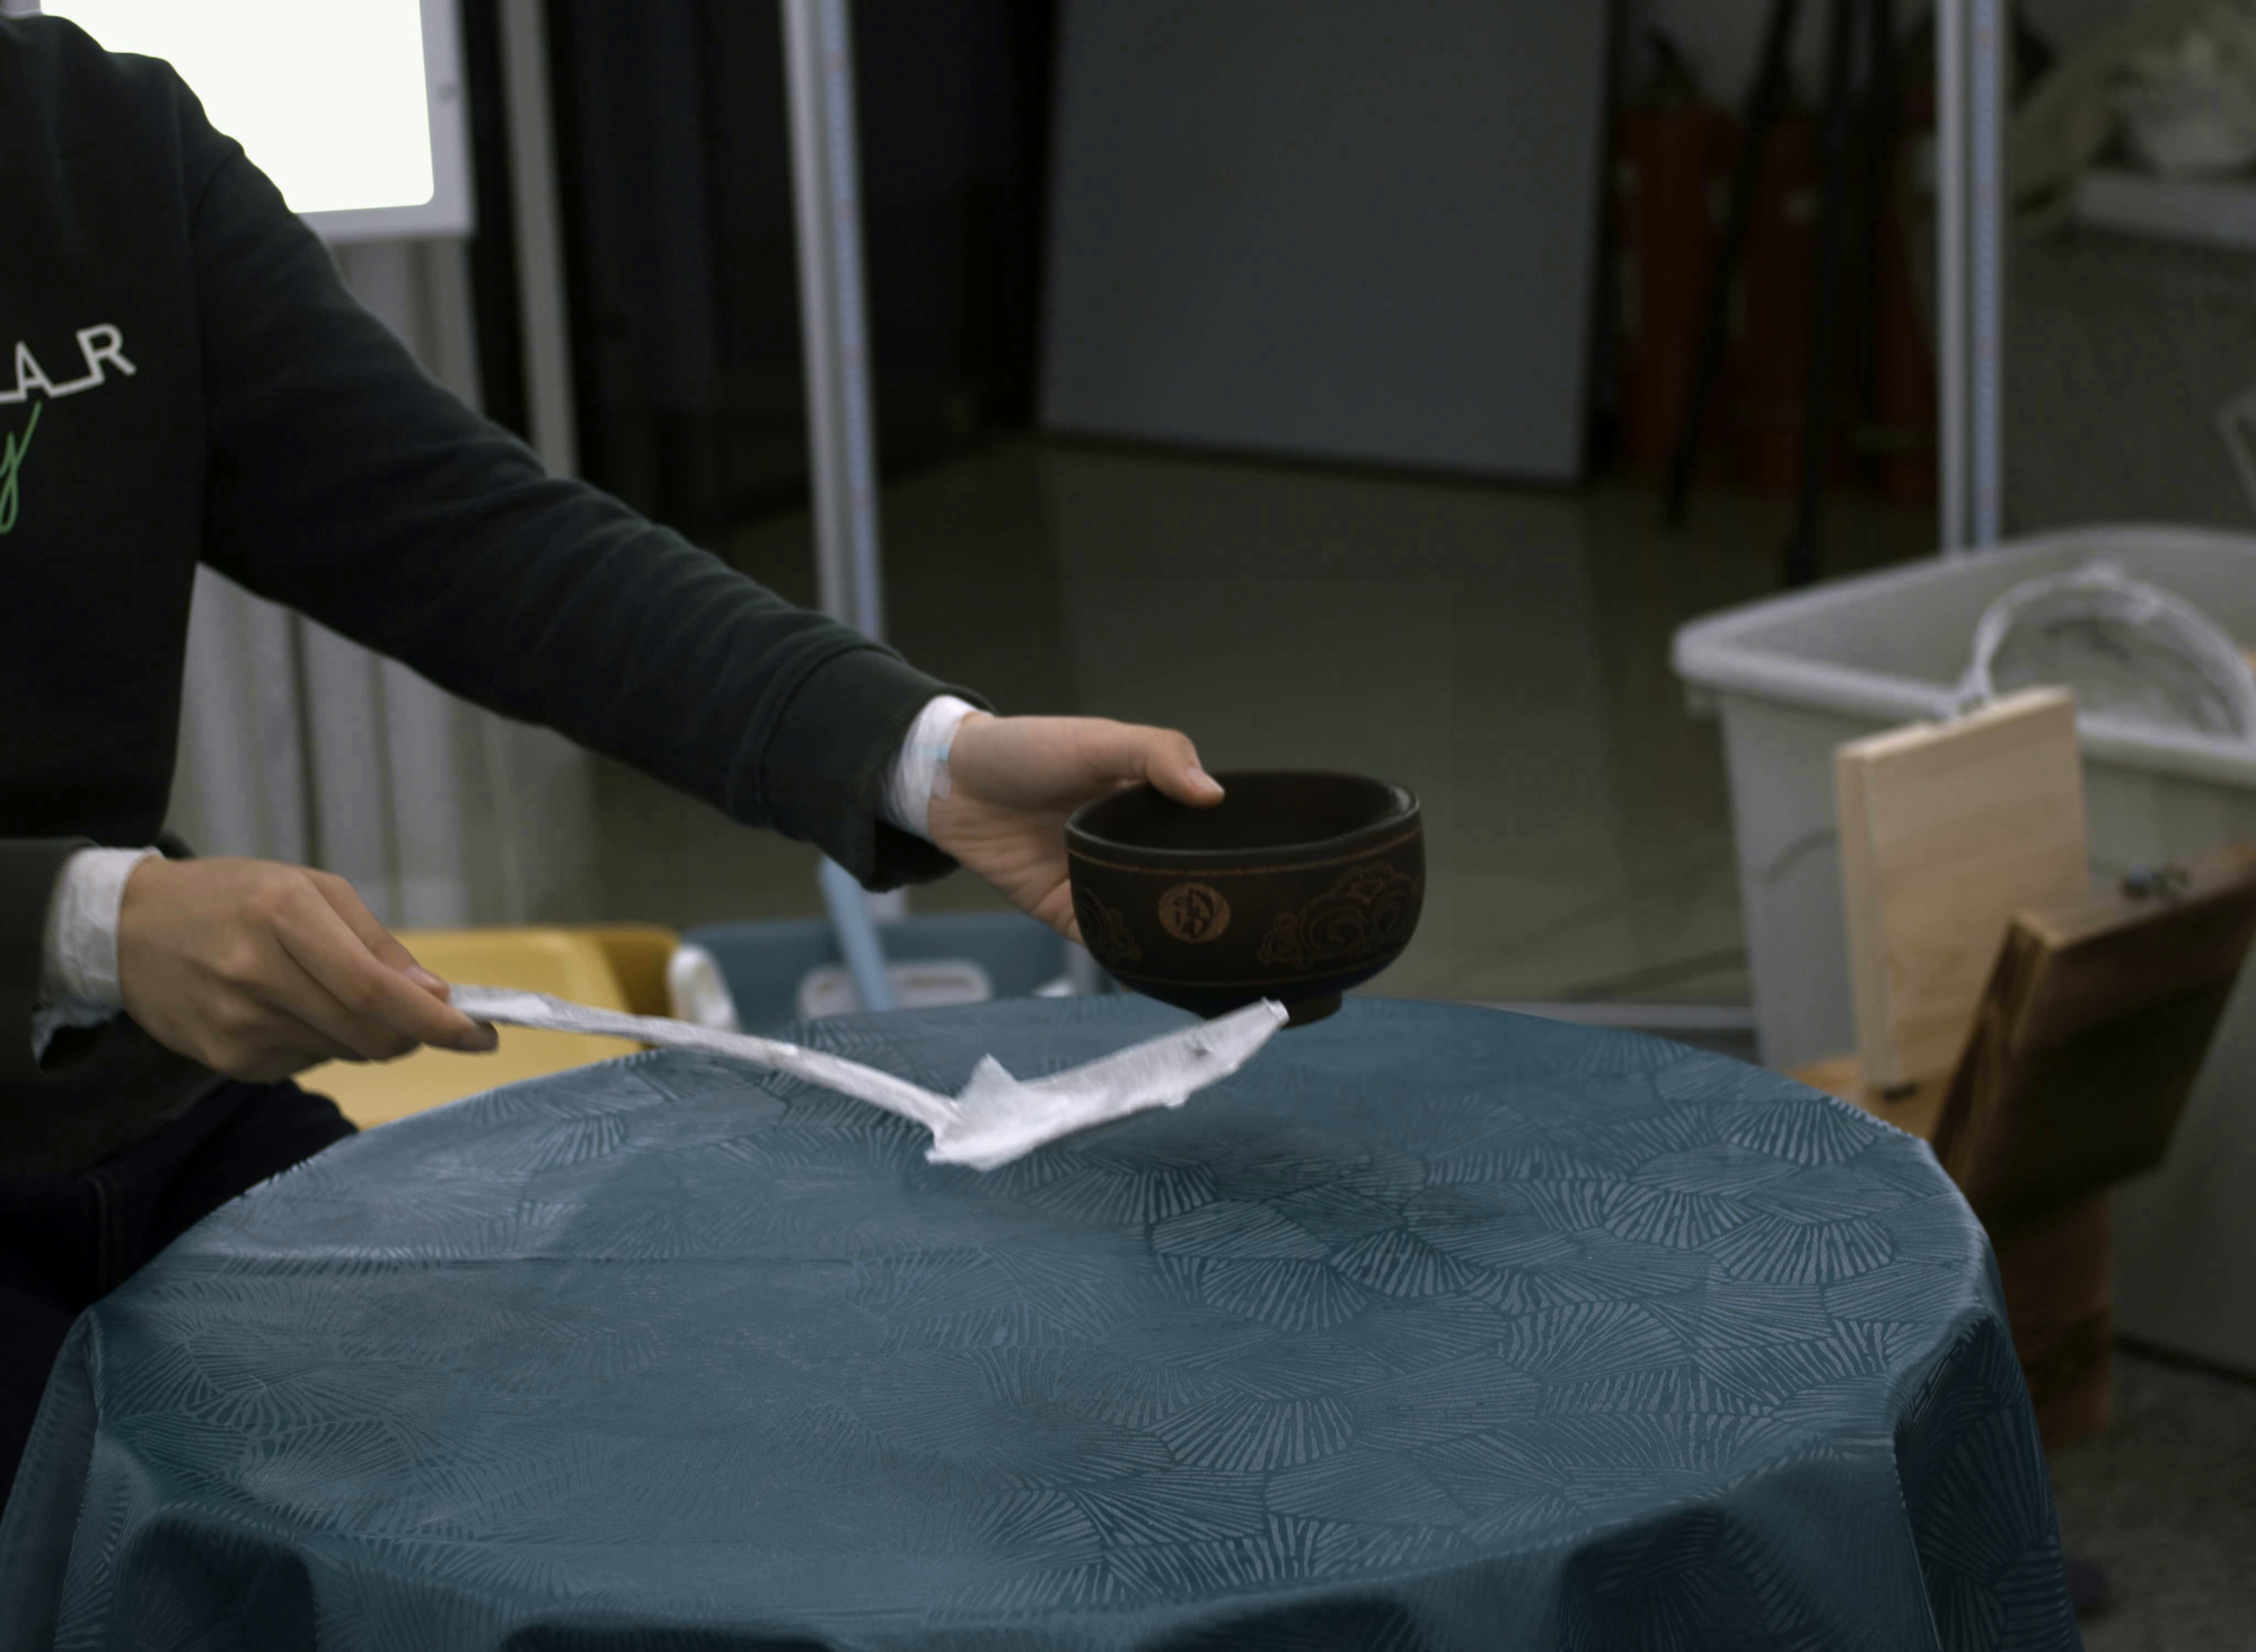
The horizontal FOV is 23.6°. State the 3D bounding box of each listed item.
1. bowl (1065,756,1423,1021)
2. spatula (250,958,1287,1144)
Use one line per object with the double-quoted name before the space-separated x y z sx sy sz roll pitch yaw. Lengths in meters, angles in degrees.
"bowl" 0.039 0.023 1.757 0.116 0.070 0.118 -4 12 0
"spatula" -0.123 0.054 1.595 0.366 0.045 0.097 8 23 29
